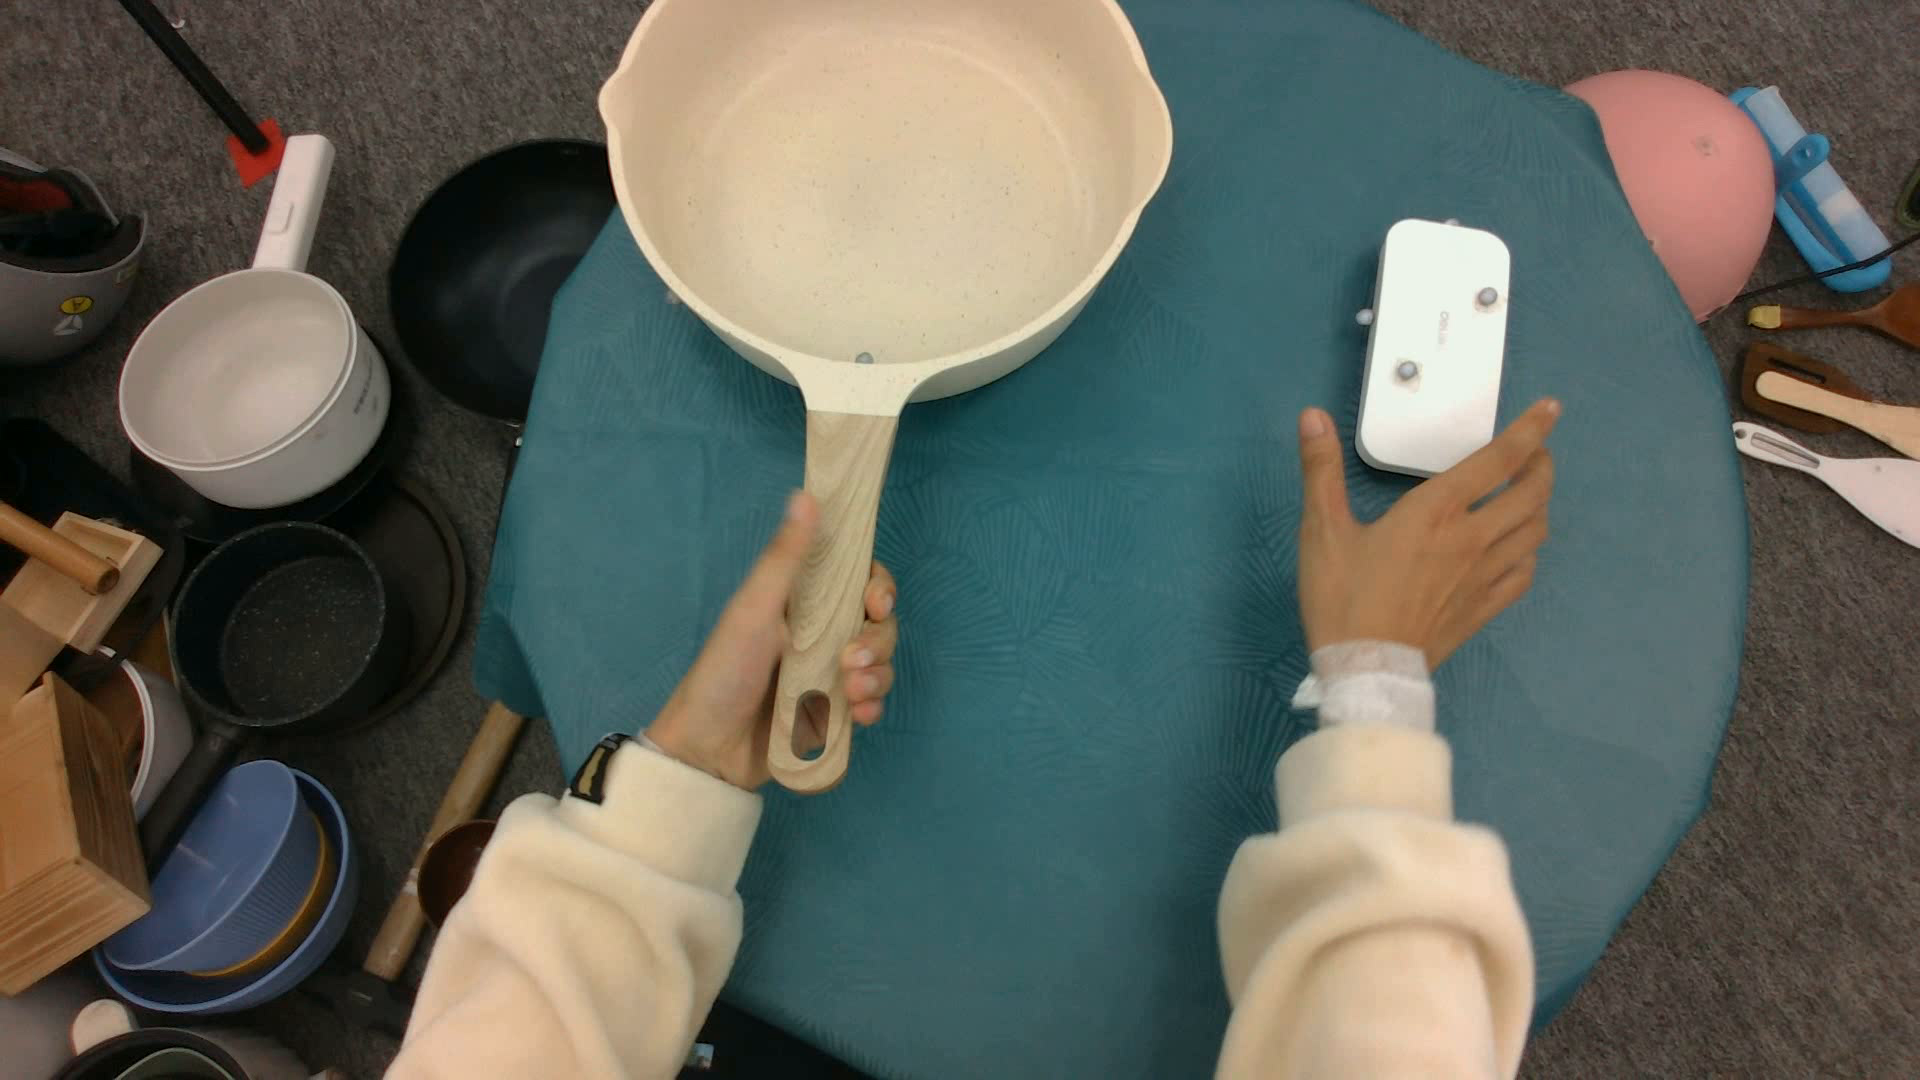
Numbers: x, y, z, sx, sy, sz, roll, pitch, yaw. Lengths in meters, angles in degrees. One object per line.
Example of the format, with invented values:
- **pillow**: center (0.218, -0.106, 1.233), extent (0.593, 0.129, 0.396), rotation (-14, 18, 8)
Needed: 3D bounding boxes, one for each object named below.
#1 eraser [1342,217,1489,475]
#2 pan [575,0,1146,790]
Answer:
- **eraser**: center (0.223, -0.097, 0.680), extent (0.063, 0.034, 0.131), rotation (10, 73, 5)
- **pan**: center (-0.052, -0.100, 0.638), extent (0.263, 0.101, 0.436), rotation (4, 73, -1)
